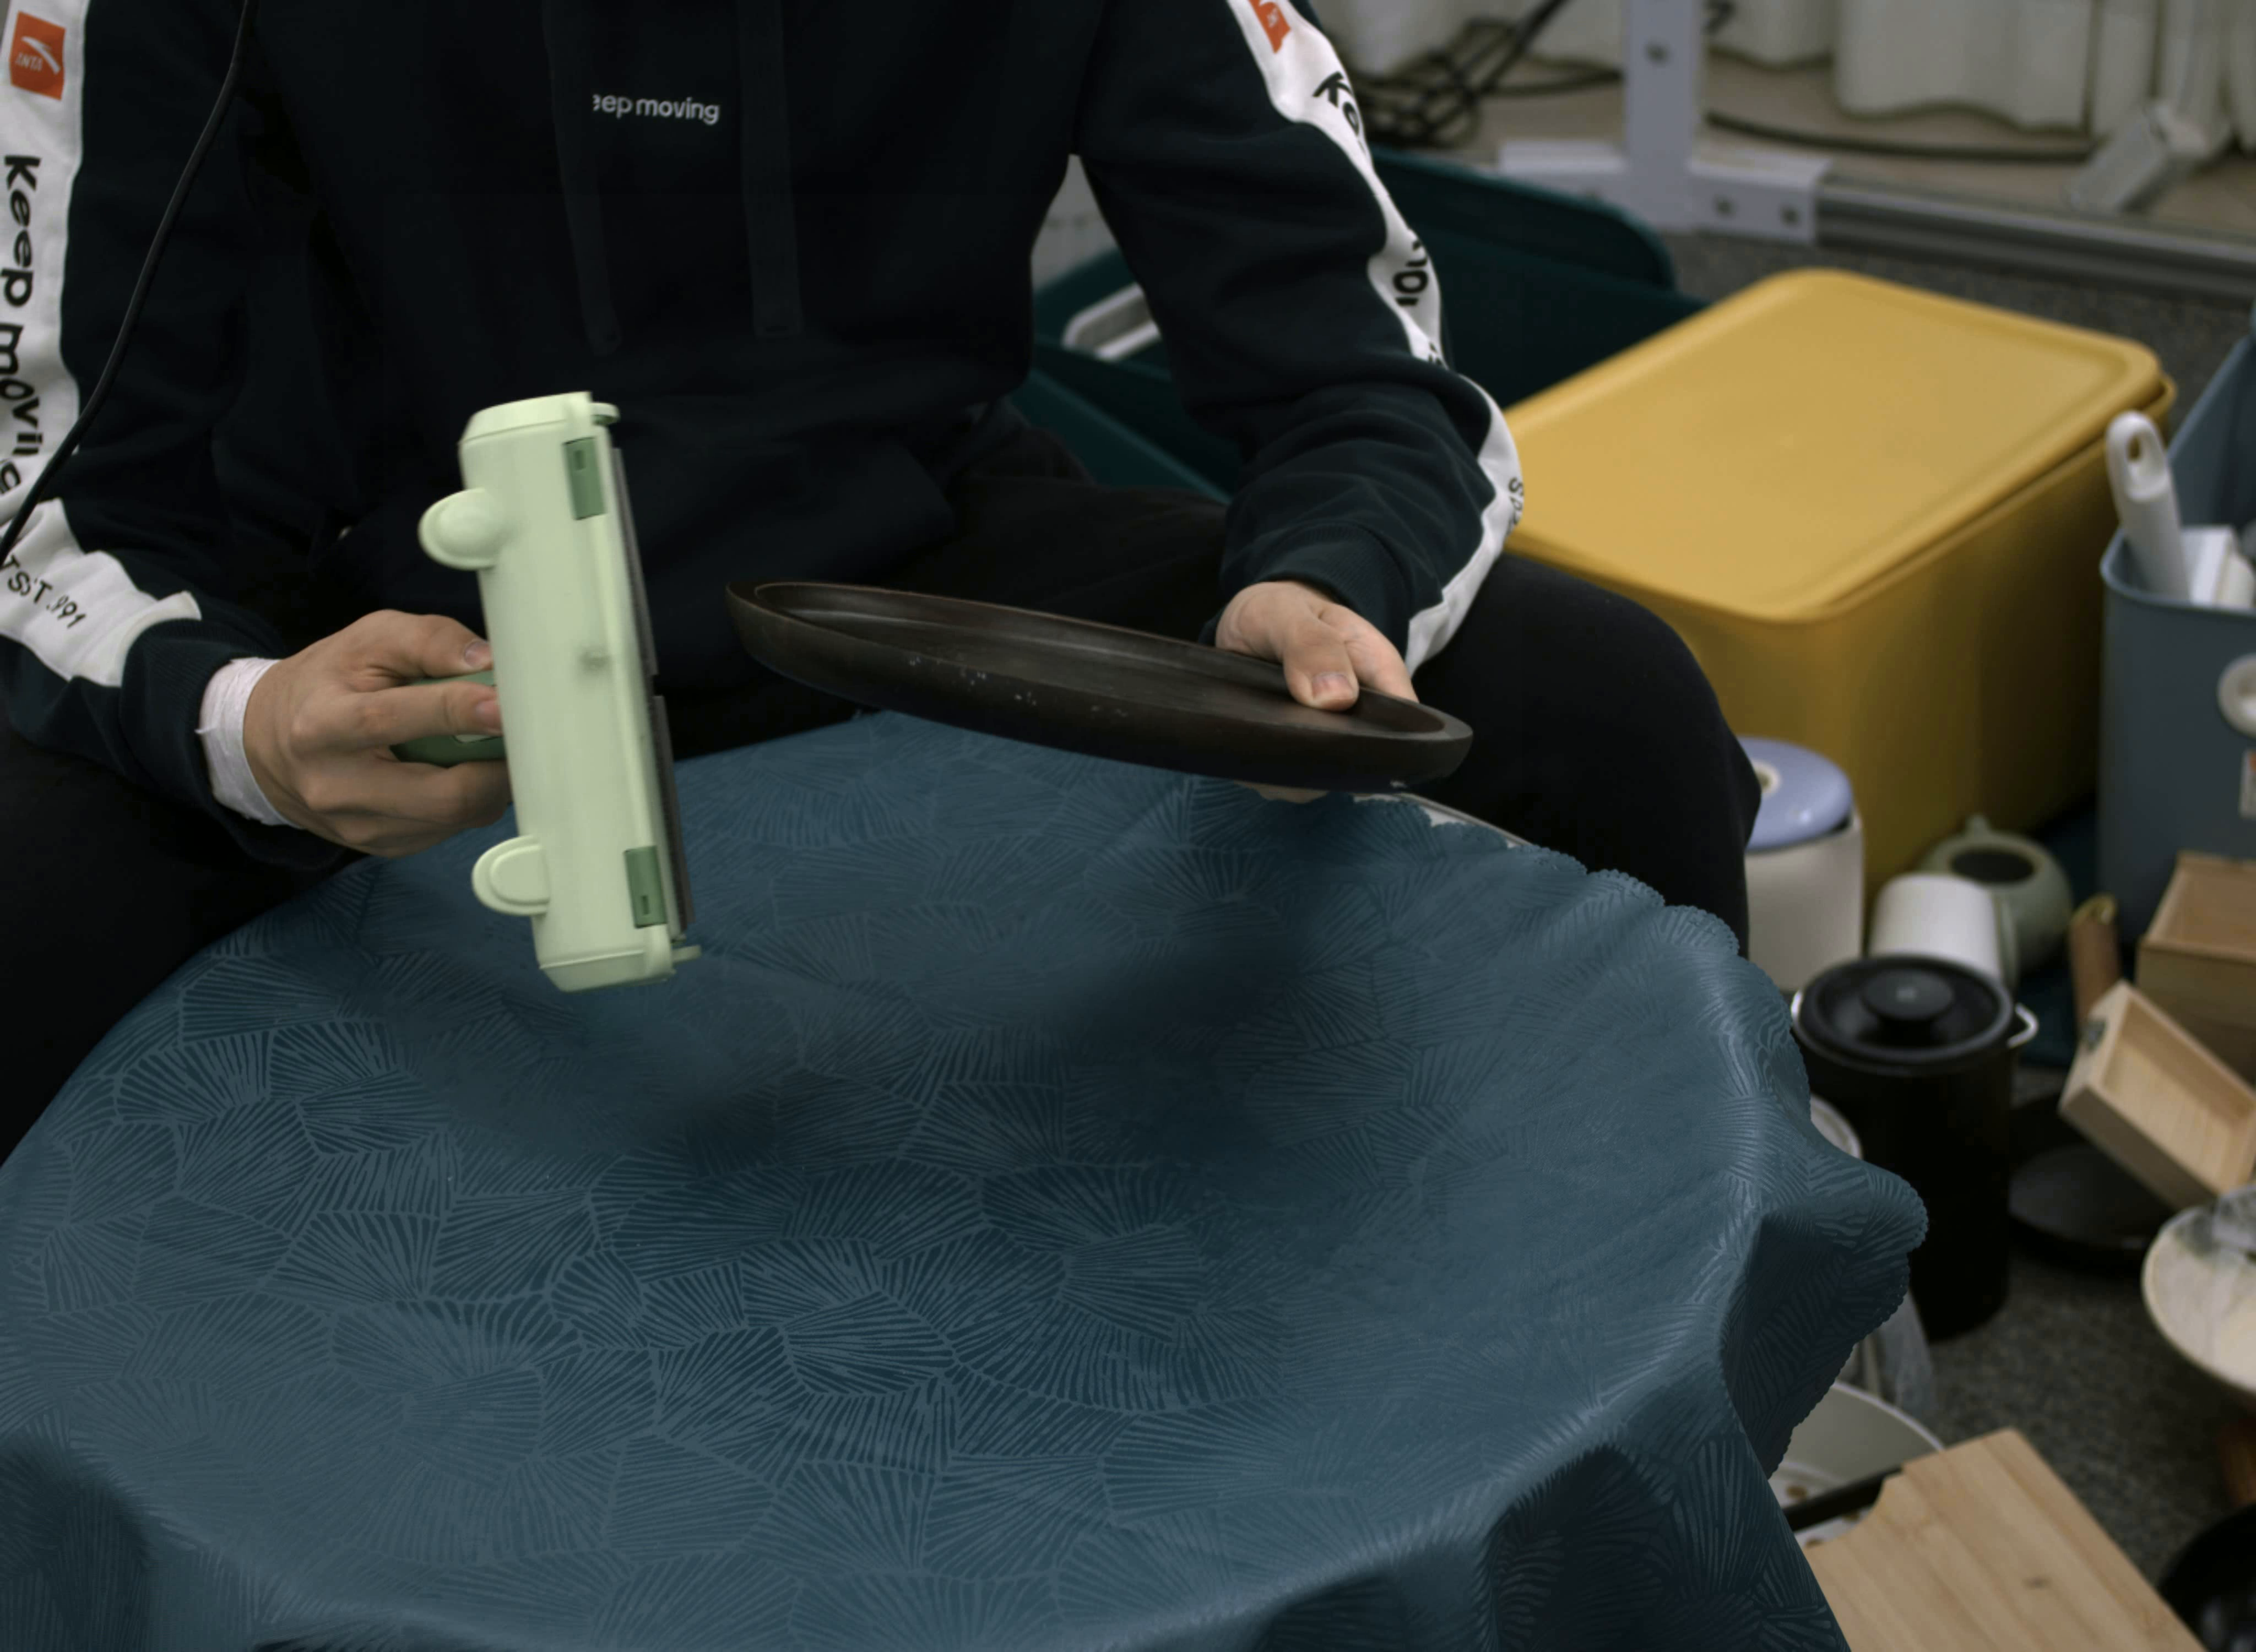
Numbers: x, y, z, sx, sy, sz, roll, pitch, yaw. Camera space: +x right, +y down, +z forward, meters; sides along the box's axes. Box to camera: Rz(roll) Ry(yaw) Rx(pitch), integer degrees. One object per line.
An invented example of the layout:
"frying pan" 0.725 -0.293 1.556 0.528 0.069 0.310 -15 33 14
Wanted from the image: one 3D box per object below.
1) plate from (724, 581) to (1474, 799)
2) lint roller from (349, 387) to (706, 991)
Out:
"plate" -0.011 -0.046 1.859 0.254 0.029 0.256 10 8 -1
"lint roller" -0.225 -0.037 1.899 0.181 0.200 0.083 -11 -4 42
